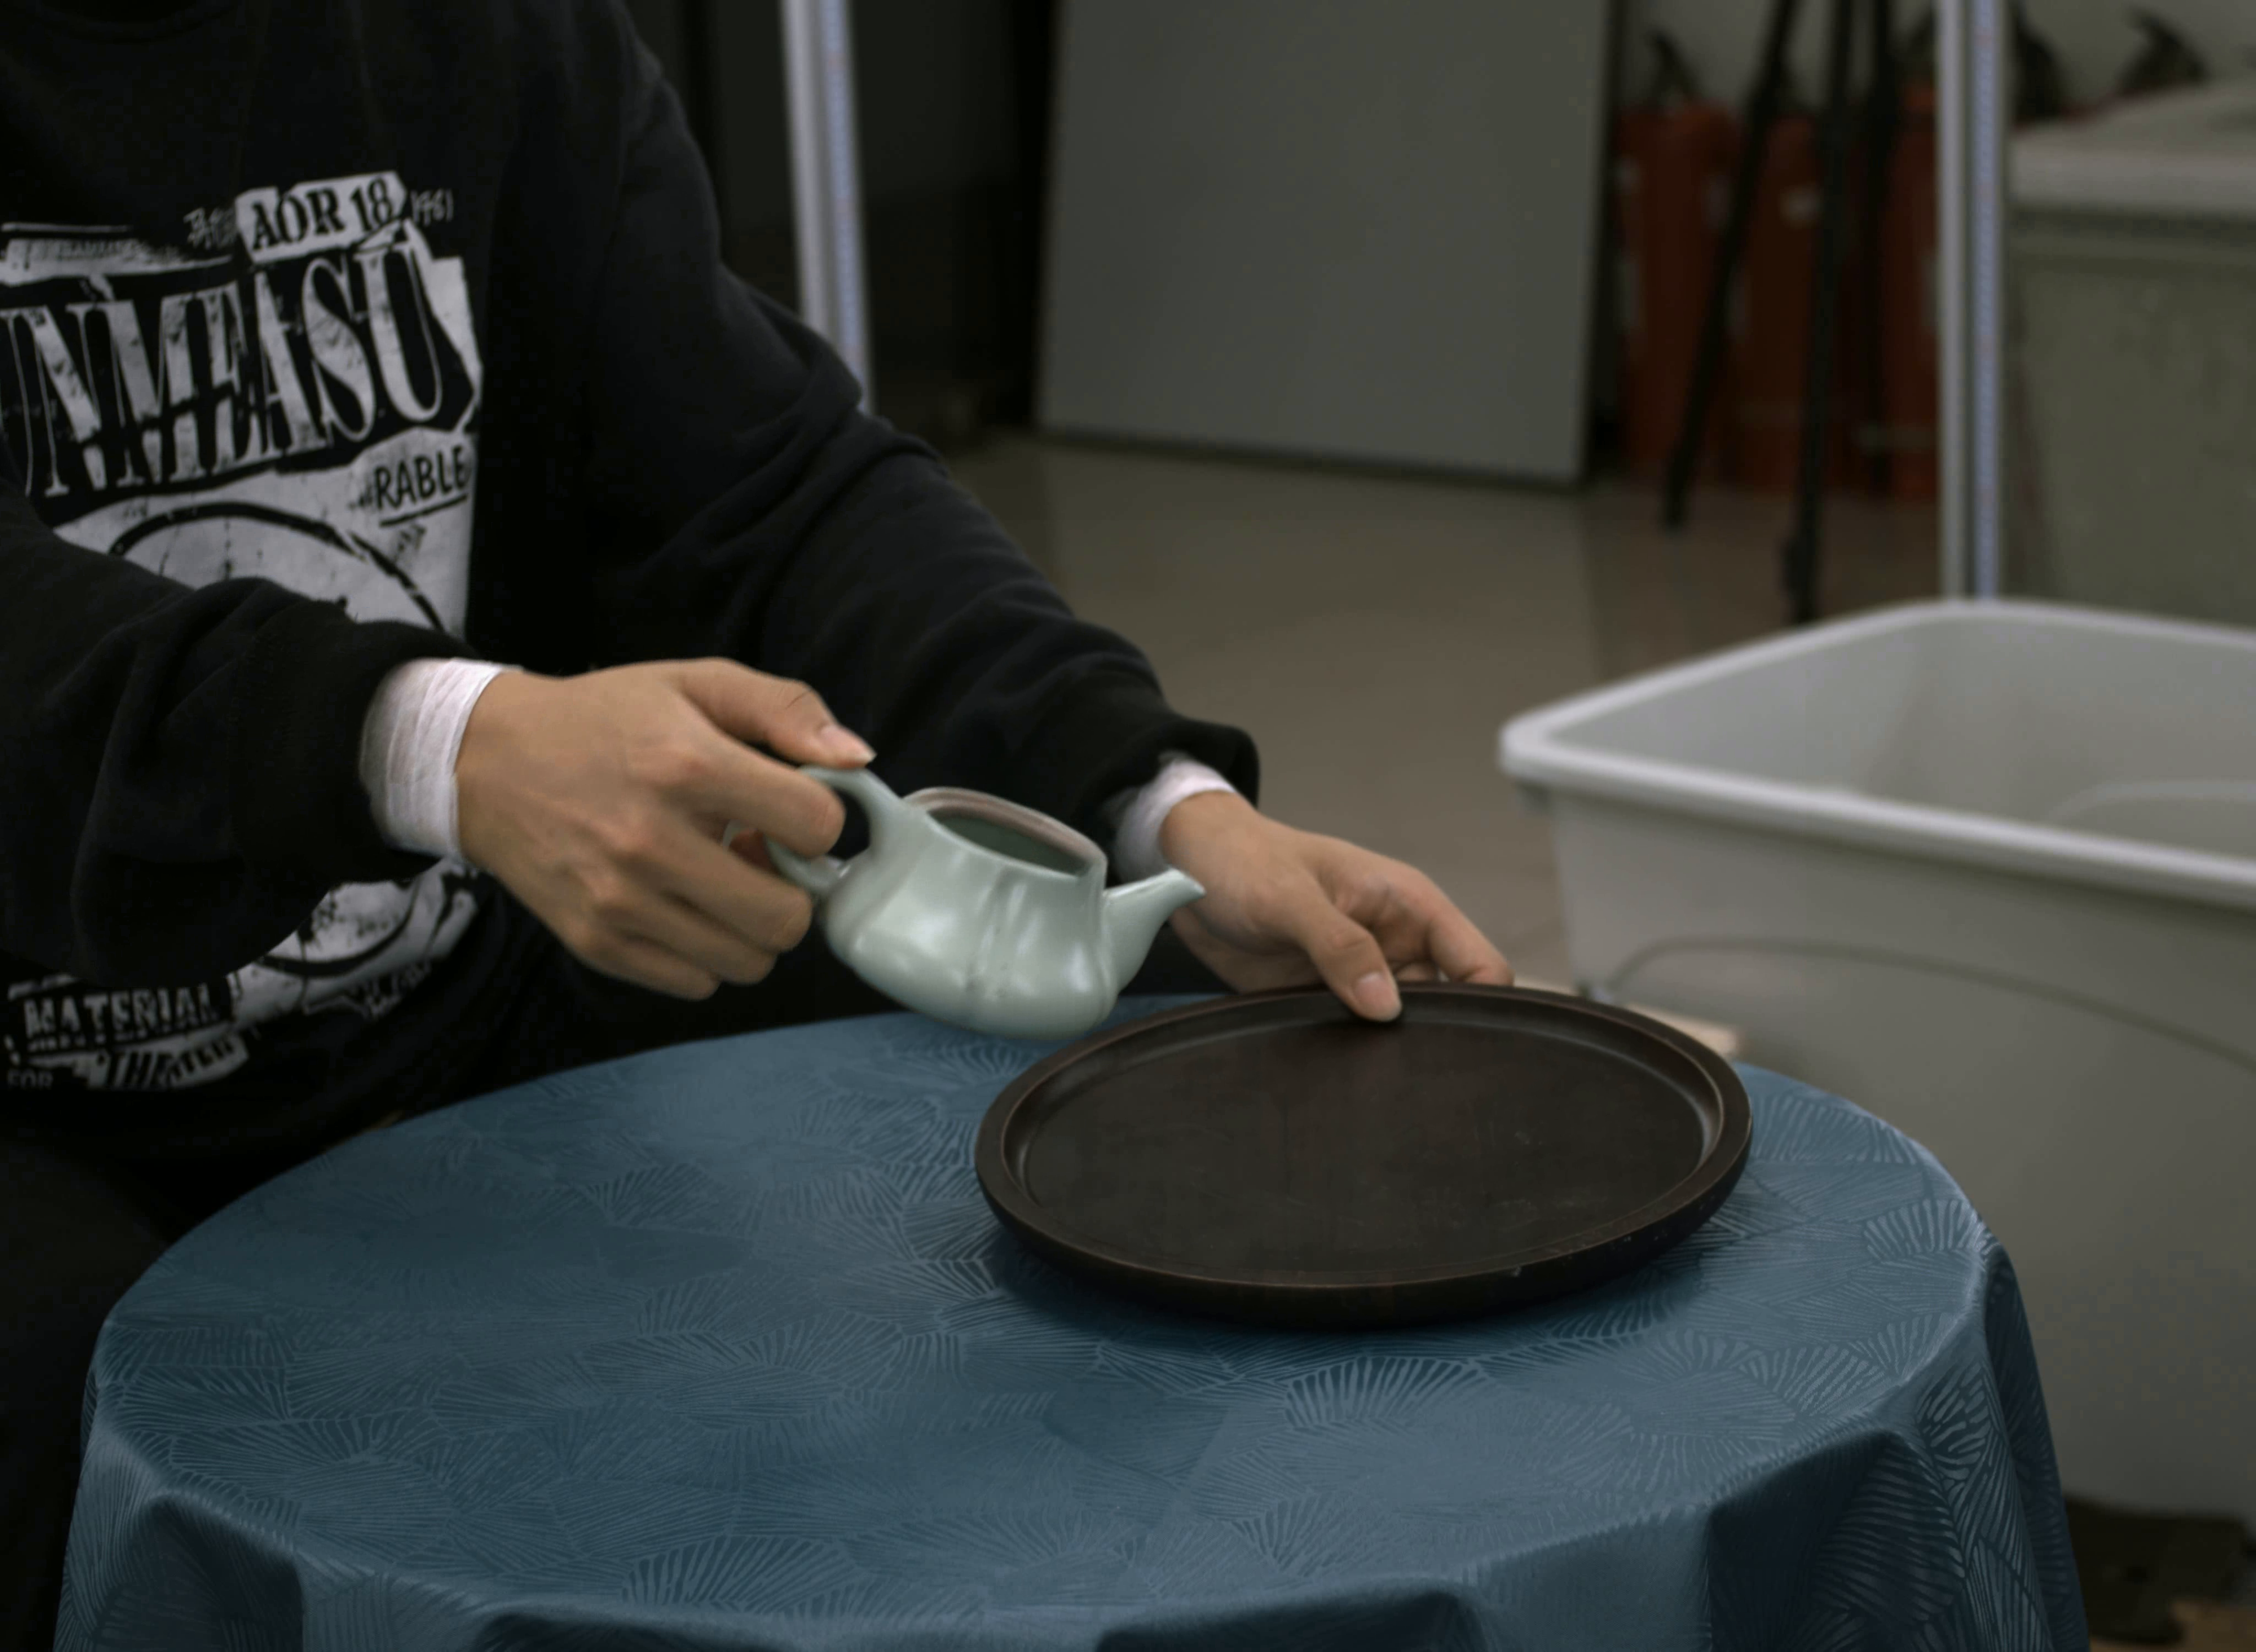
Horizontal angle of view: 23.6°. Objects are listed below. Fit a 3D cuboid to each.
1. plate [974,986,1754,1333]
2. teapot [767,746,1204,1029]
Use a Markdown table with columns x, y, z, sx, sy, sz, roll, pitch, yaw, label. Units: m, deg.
| x | y | z | sx | sy | sz | roll | pitch | yaw | label |
| --- | --- | --- | --- | --- | --- | --- | --- | --- | --- |
| 0.076 | 0.104 | 1.729 | 0.251 | 0.029 | 0.255 | -5 | 20 | 1 | plate |
| -0.048 | 0.020 | 1.628 | 0.134 | 0.062 | 0.097 | 18 | 16 | -15 | teapot |
